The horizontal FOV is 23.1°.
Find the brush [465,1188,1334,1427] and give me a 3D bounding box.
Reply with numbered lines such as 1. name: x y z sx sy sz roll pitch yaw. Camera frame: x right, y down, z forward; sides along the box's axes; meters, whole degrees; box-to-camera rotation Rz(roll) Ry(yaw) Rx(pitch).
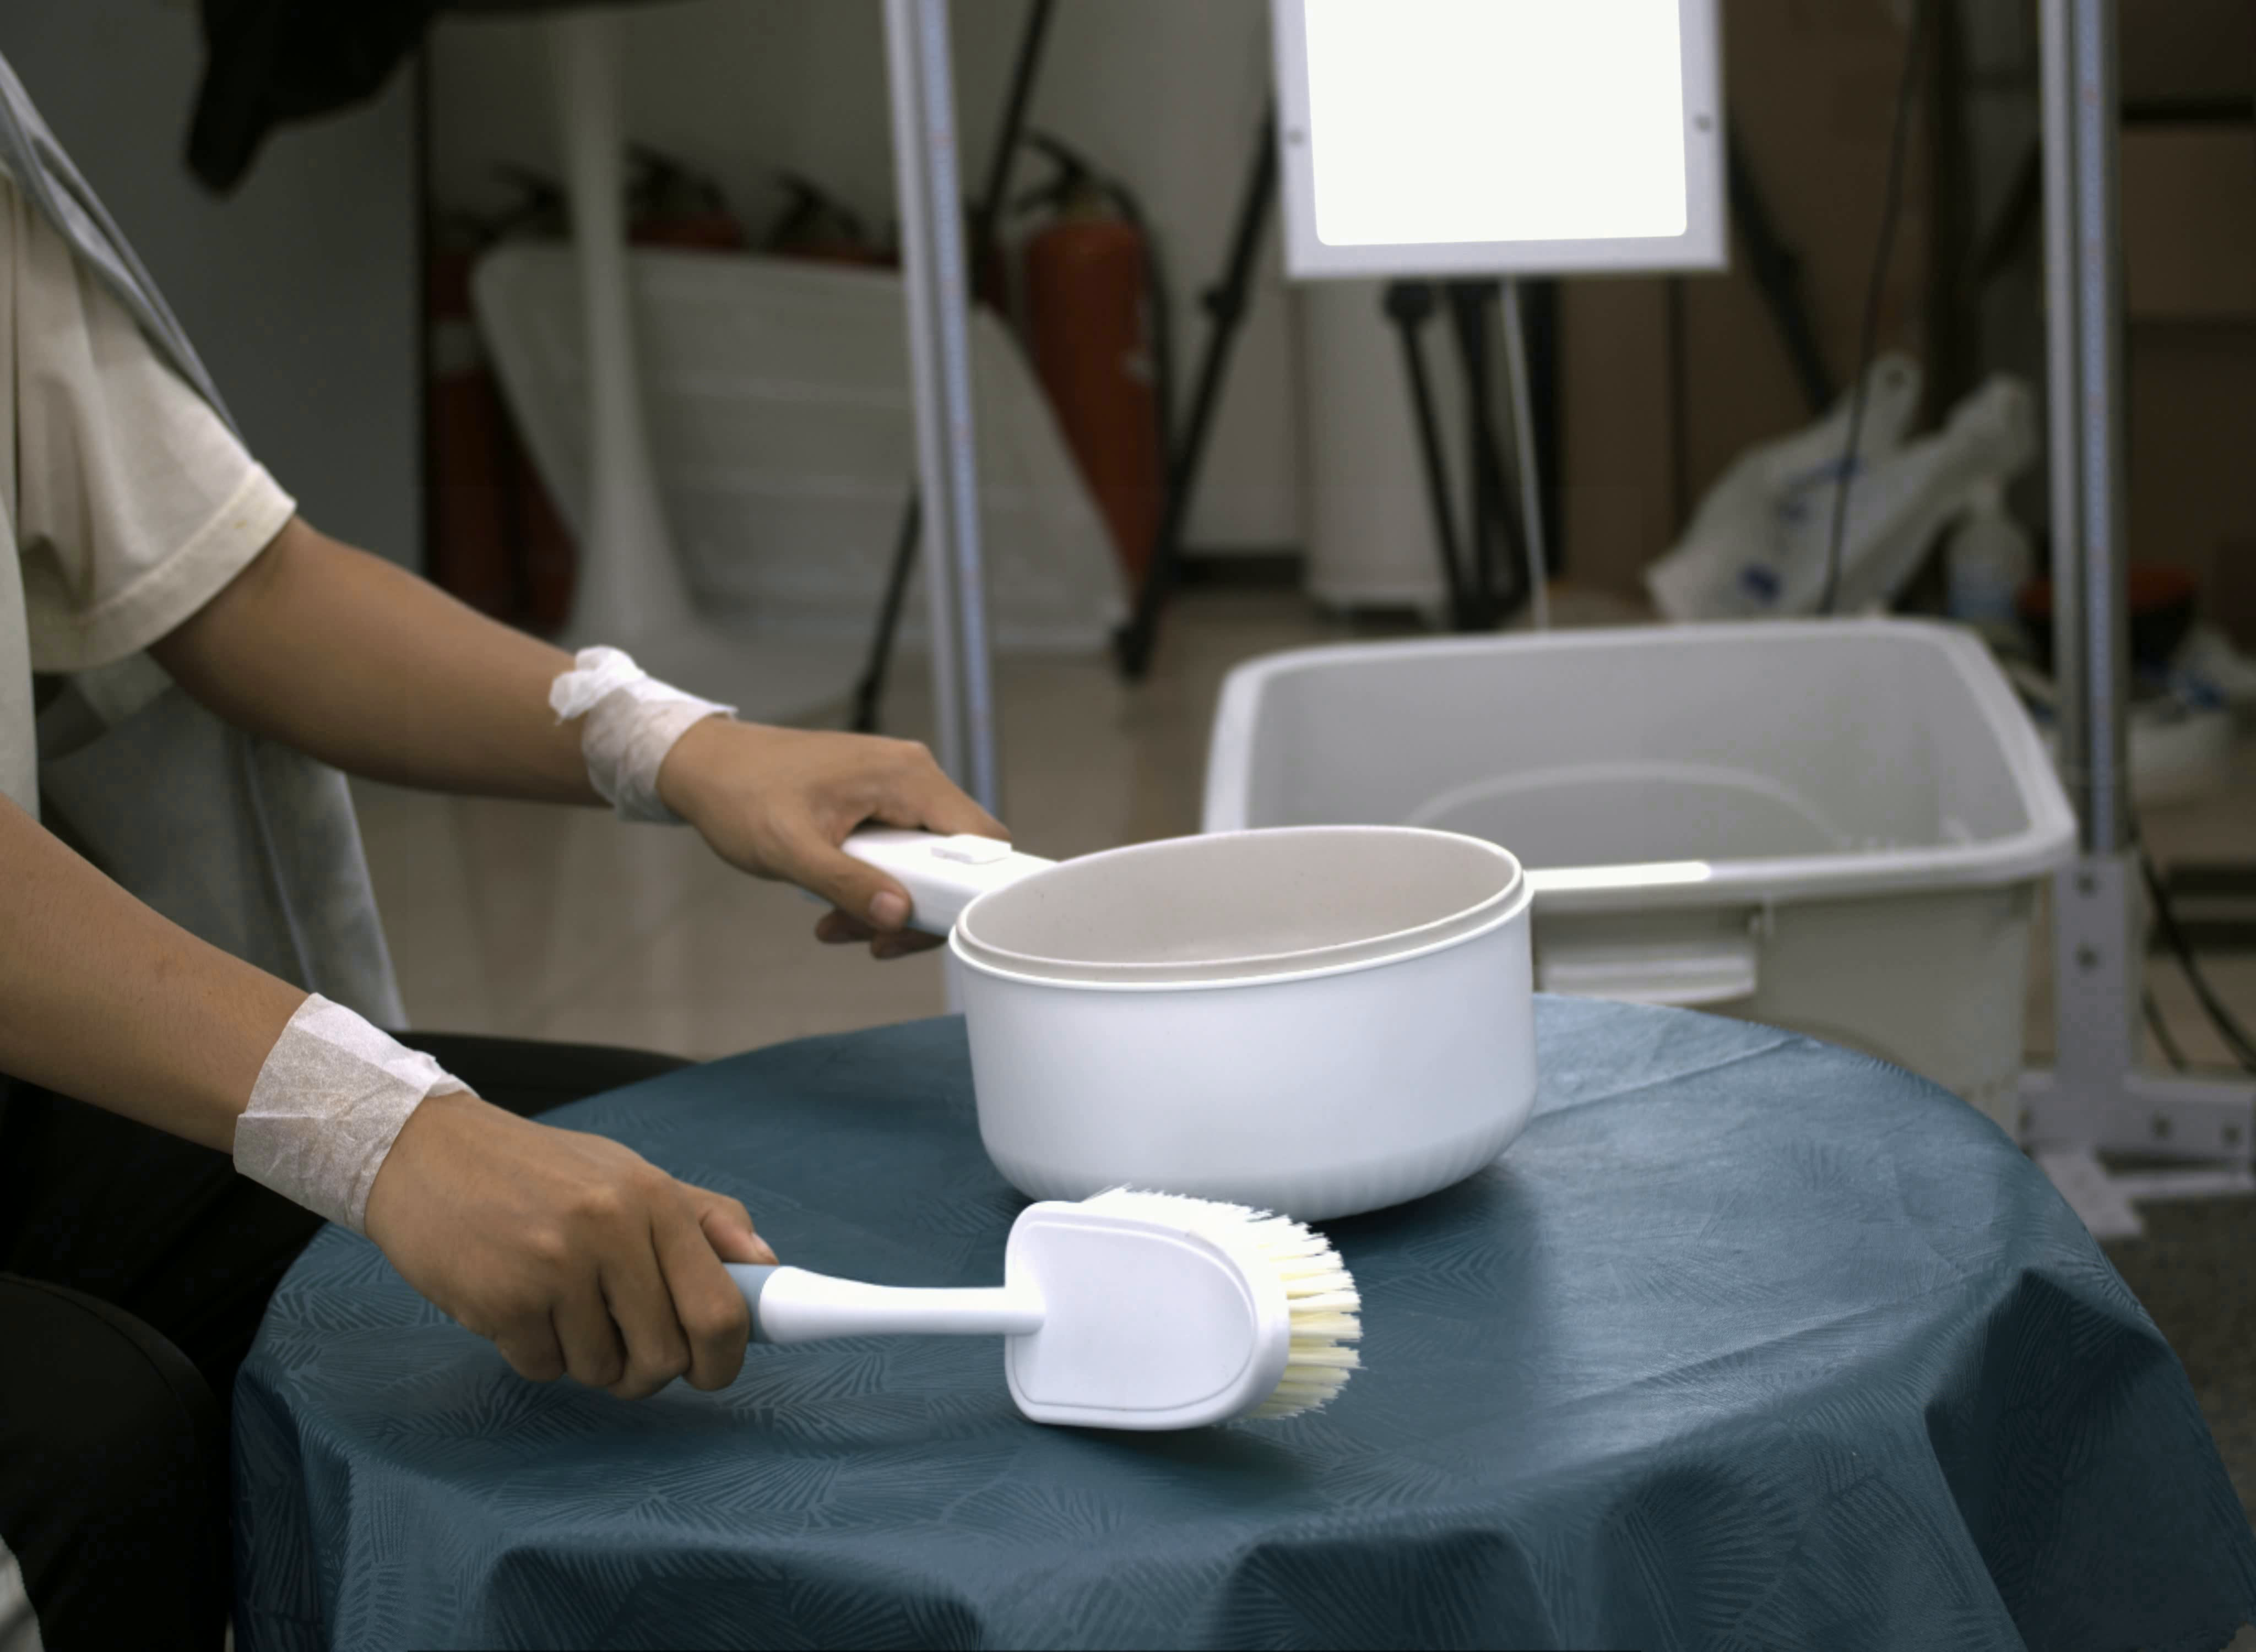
1. brush: -0.067 0.143 1.712 0.332 0.083 0.082 -1 50 38

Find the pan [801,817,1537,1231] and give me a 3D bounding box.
1. pan: -0.003 0.064 1.950 0.196 0.102 0.362 -15 14 -33
